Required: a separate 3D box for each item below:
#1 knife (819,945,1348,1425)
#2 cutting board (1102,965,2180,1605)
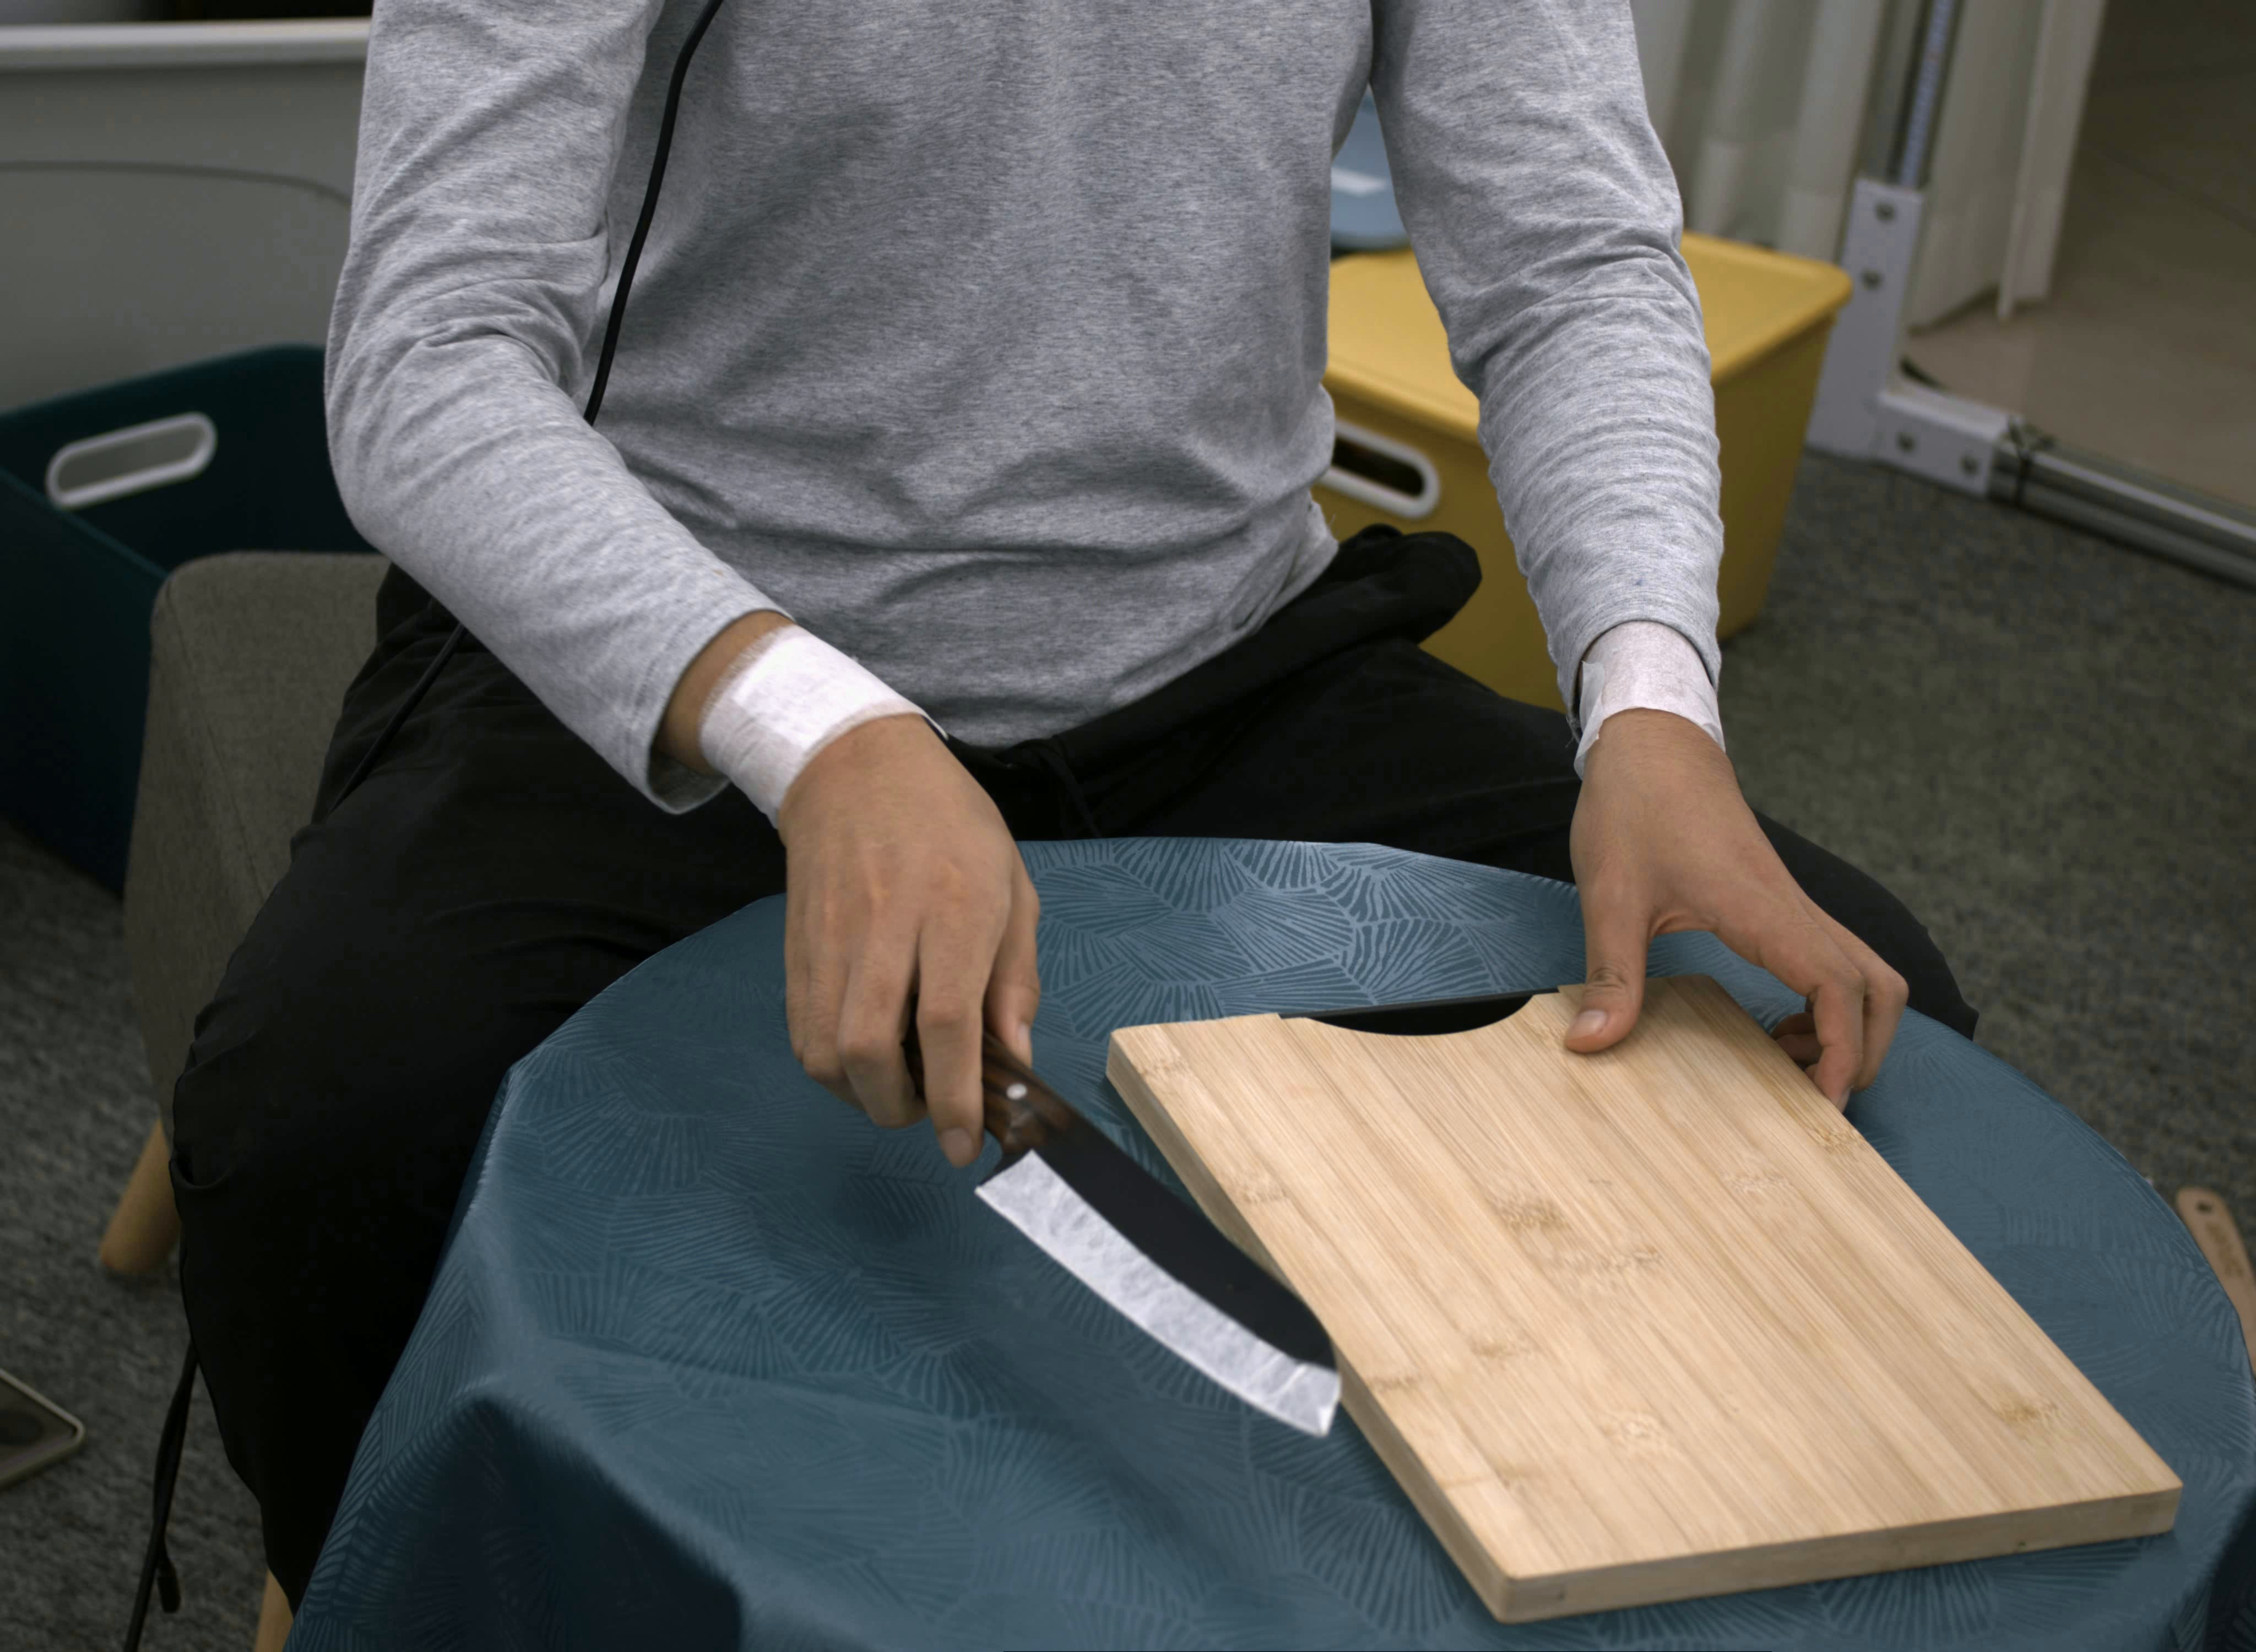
[{"bbox_3d":[-0.017,0.112,1.691,0.050,0.020,0.292,-36,43,-15],"label":"knife"},{"bbox_3d":[0.161,0.146,1.781,0.249,0.023,0.352,-4,29,-22],"label":"cutting board"}]
